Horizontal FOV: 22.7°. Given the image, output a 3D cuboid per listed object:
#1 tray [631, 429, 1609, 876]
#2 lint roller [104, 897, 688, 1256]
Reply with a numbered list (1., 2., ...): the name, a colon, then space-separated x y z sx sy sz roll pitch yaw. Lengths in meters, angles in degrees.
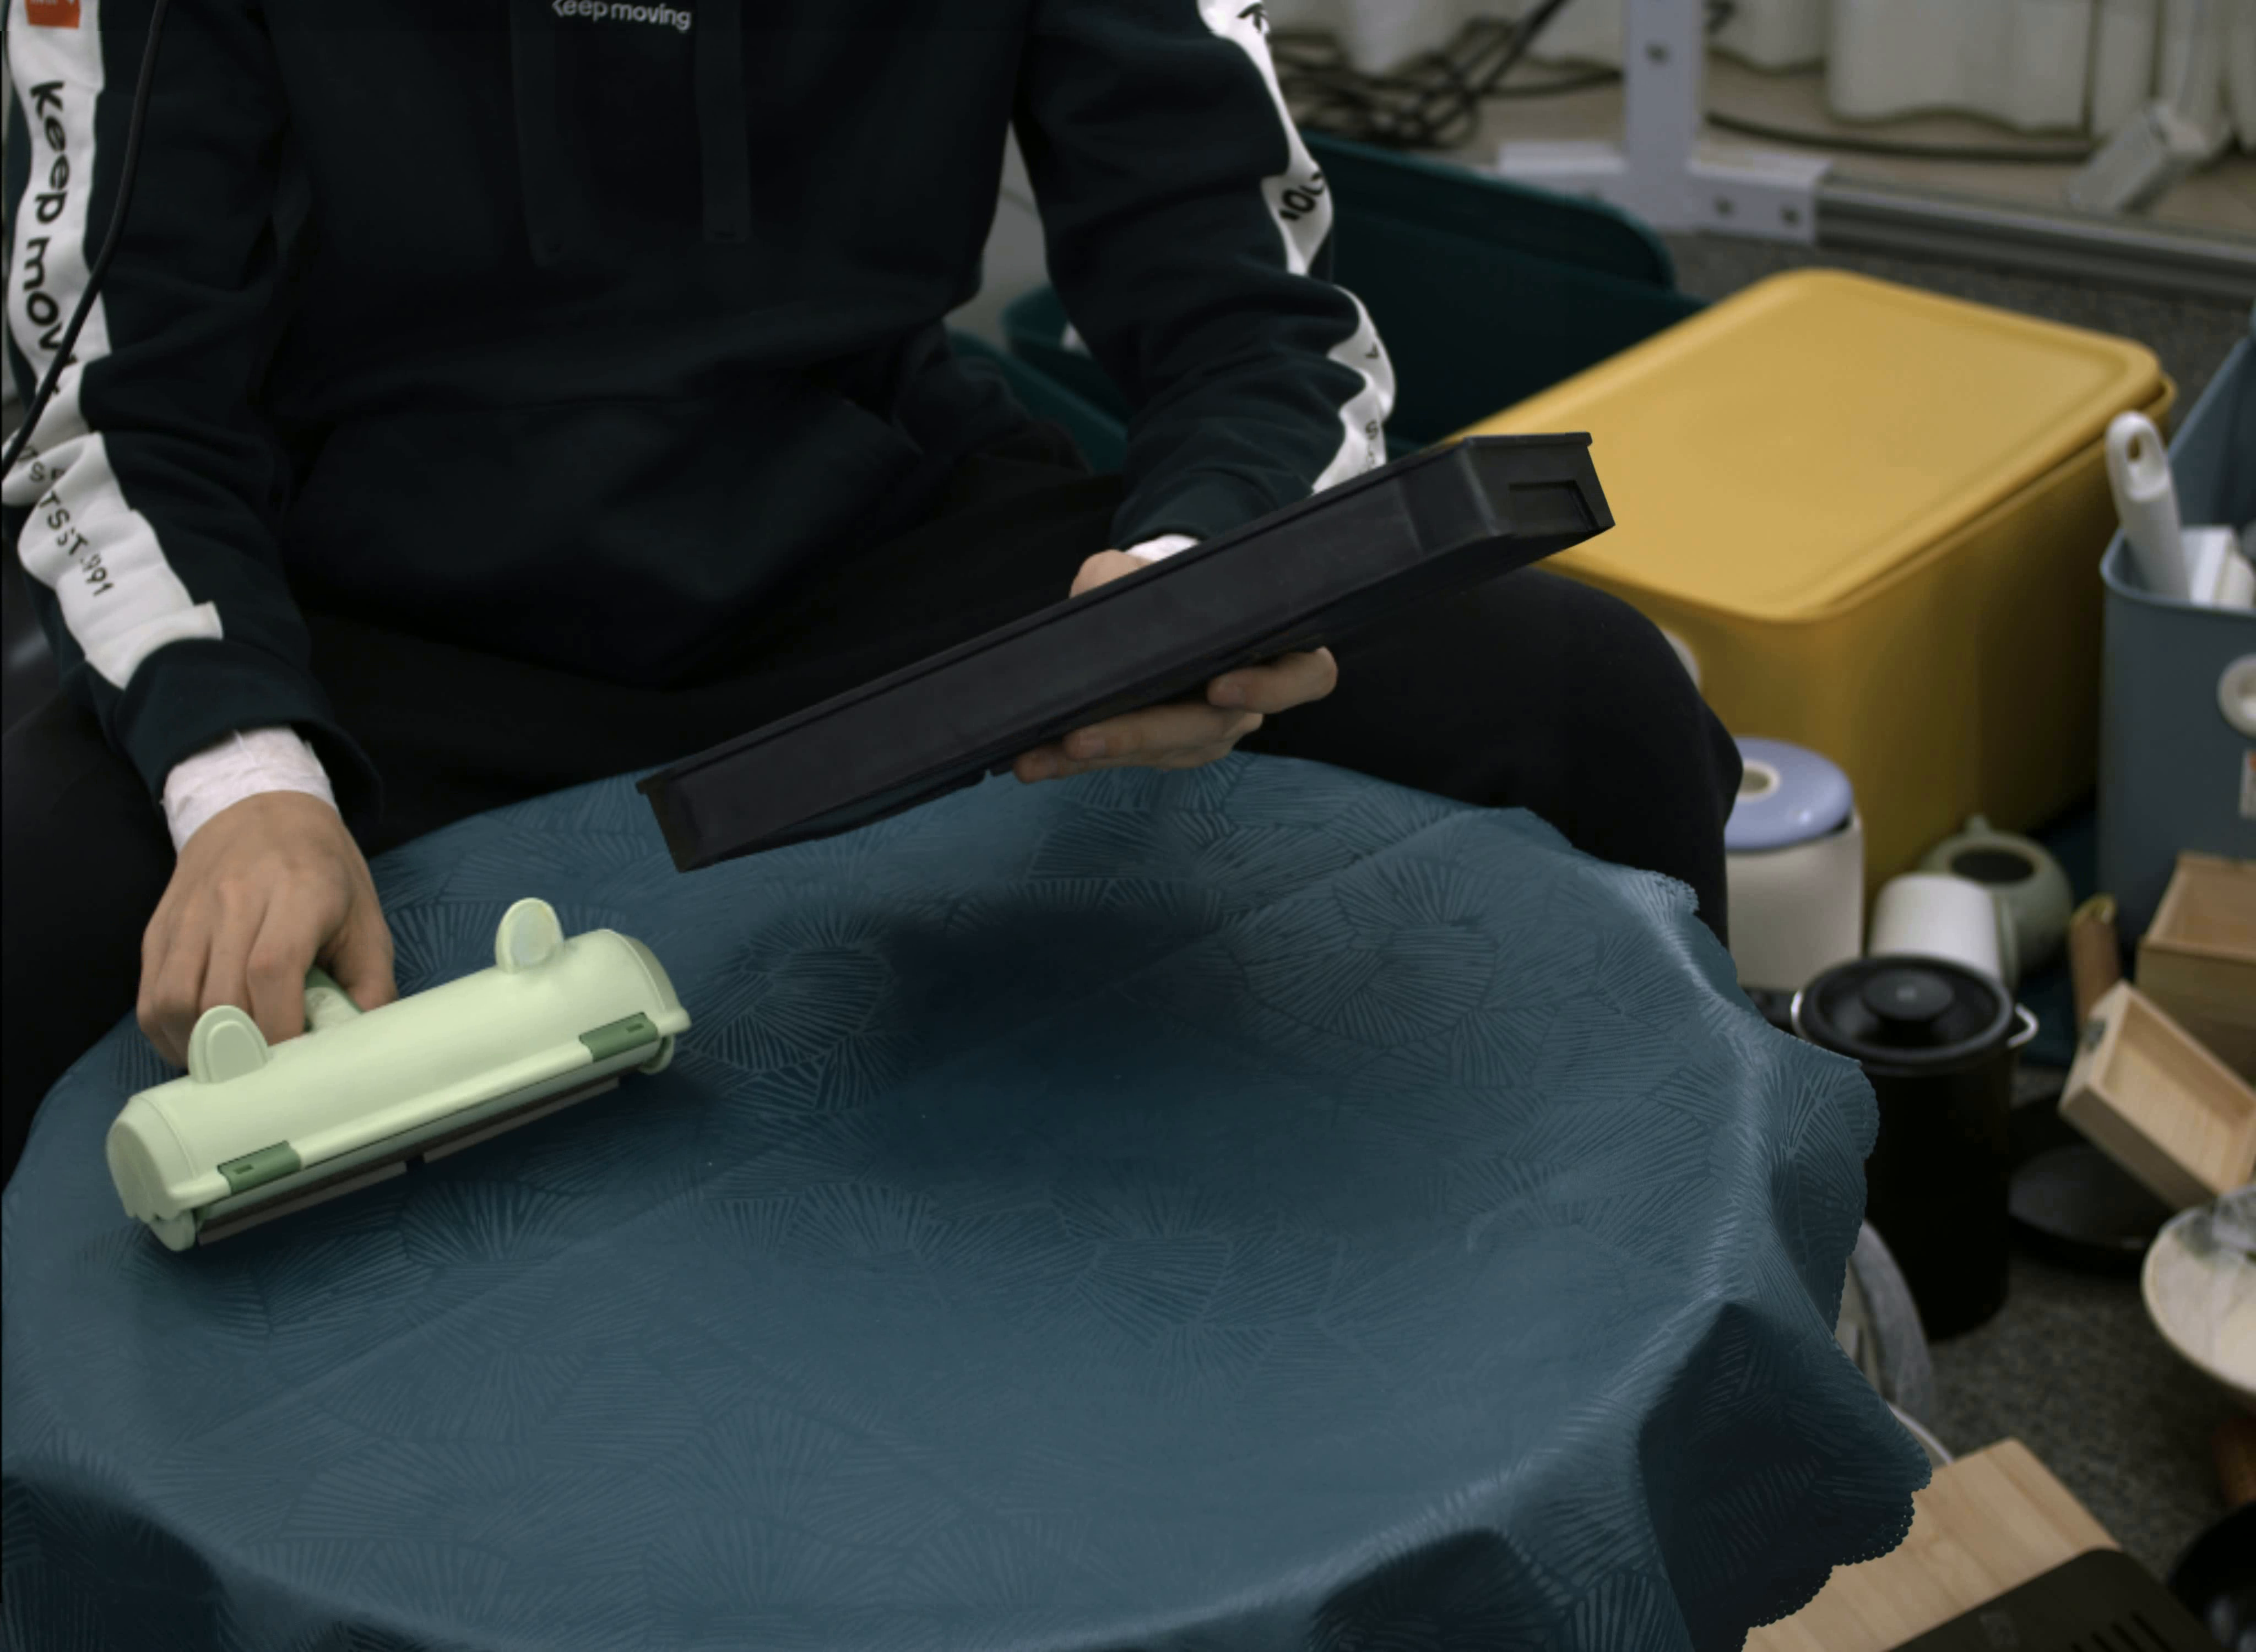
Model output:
1. tray: 0.000 -0.059 1.914 0.314 0.037 0.185 -22 -3 19
2. lint roller: -0.276 0.060 1.920 0.200 0.081 0.184 -20 35 -30
